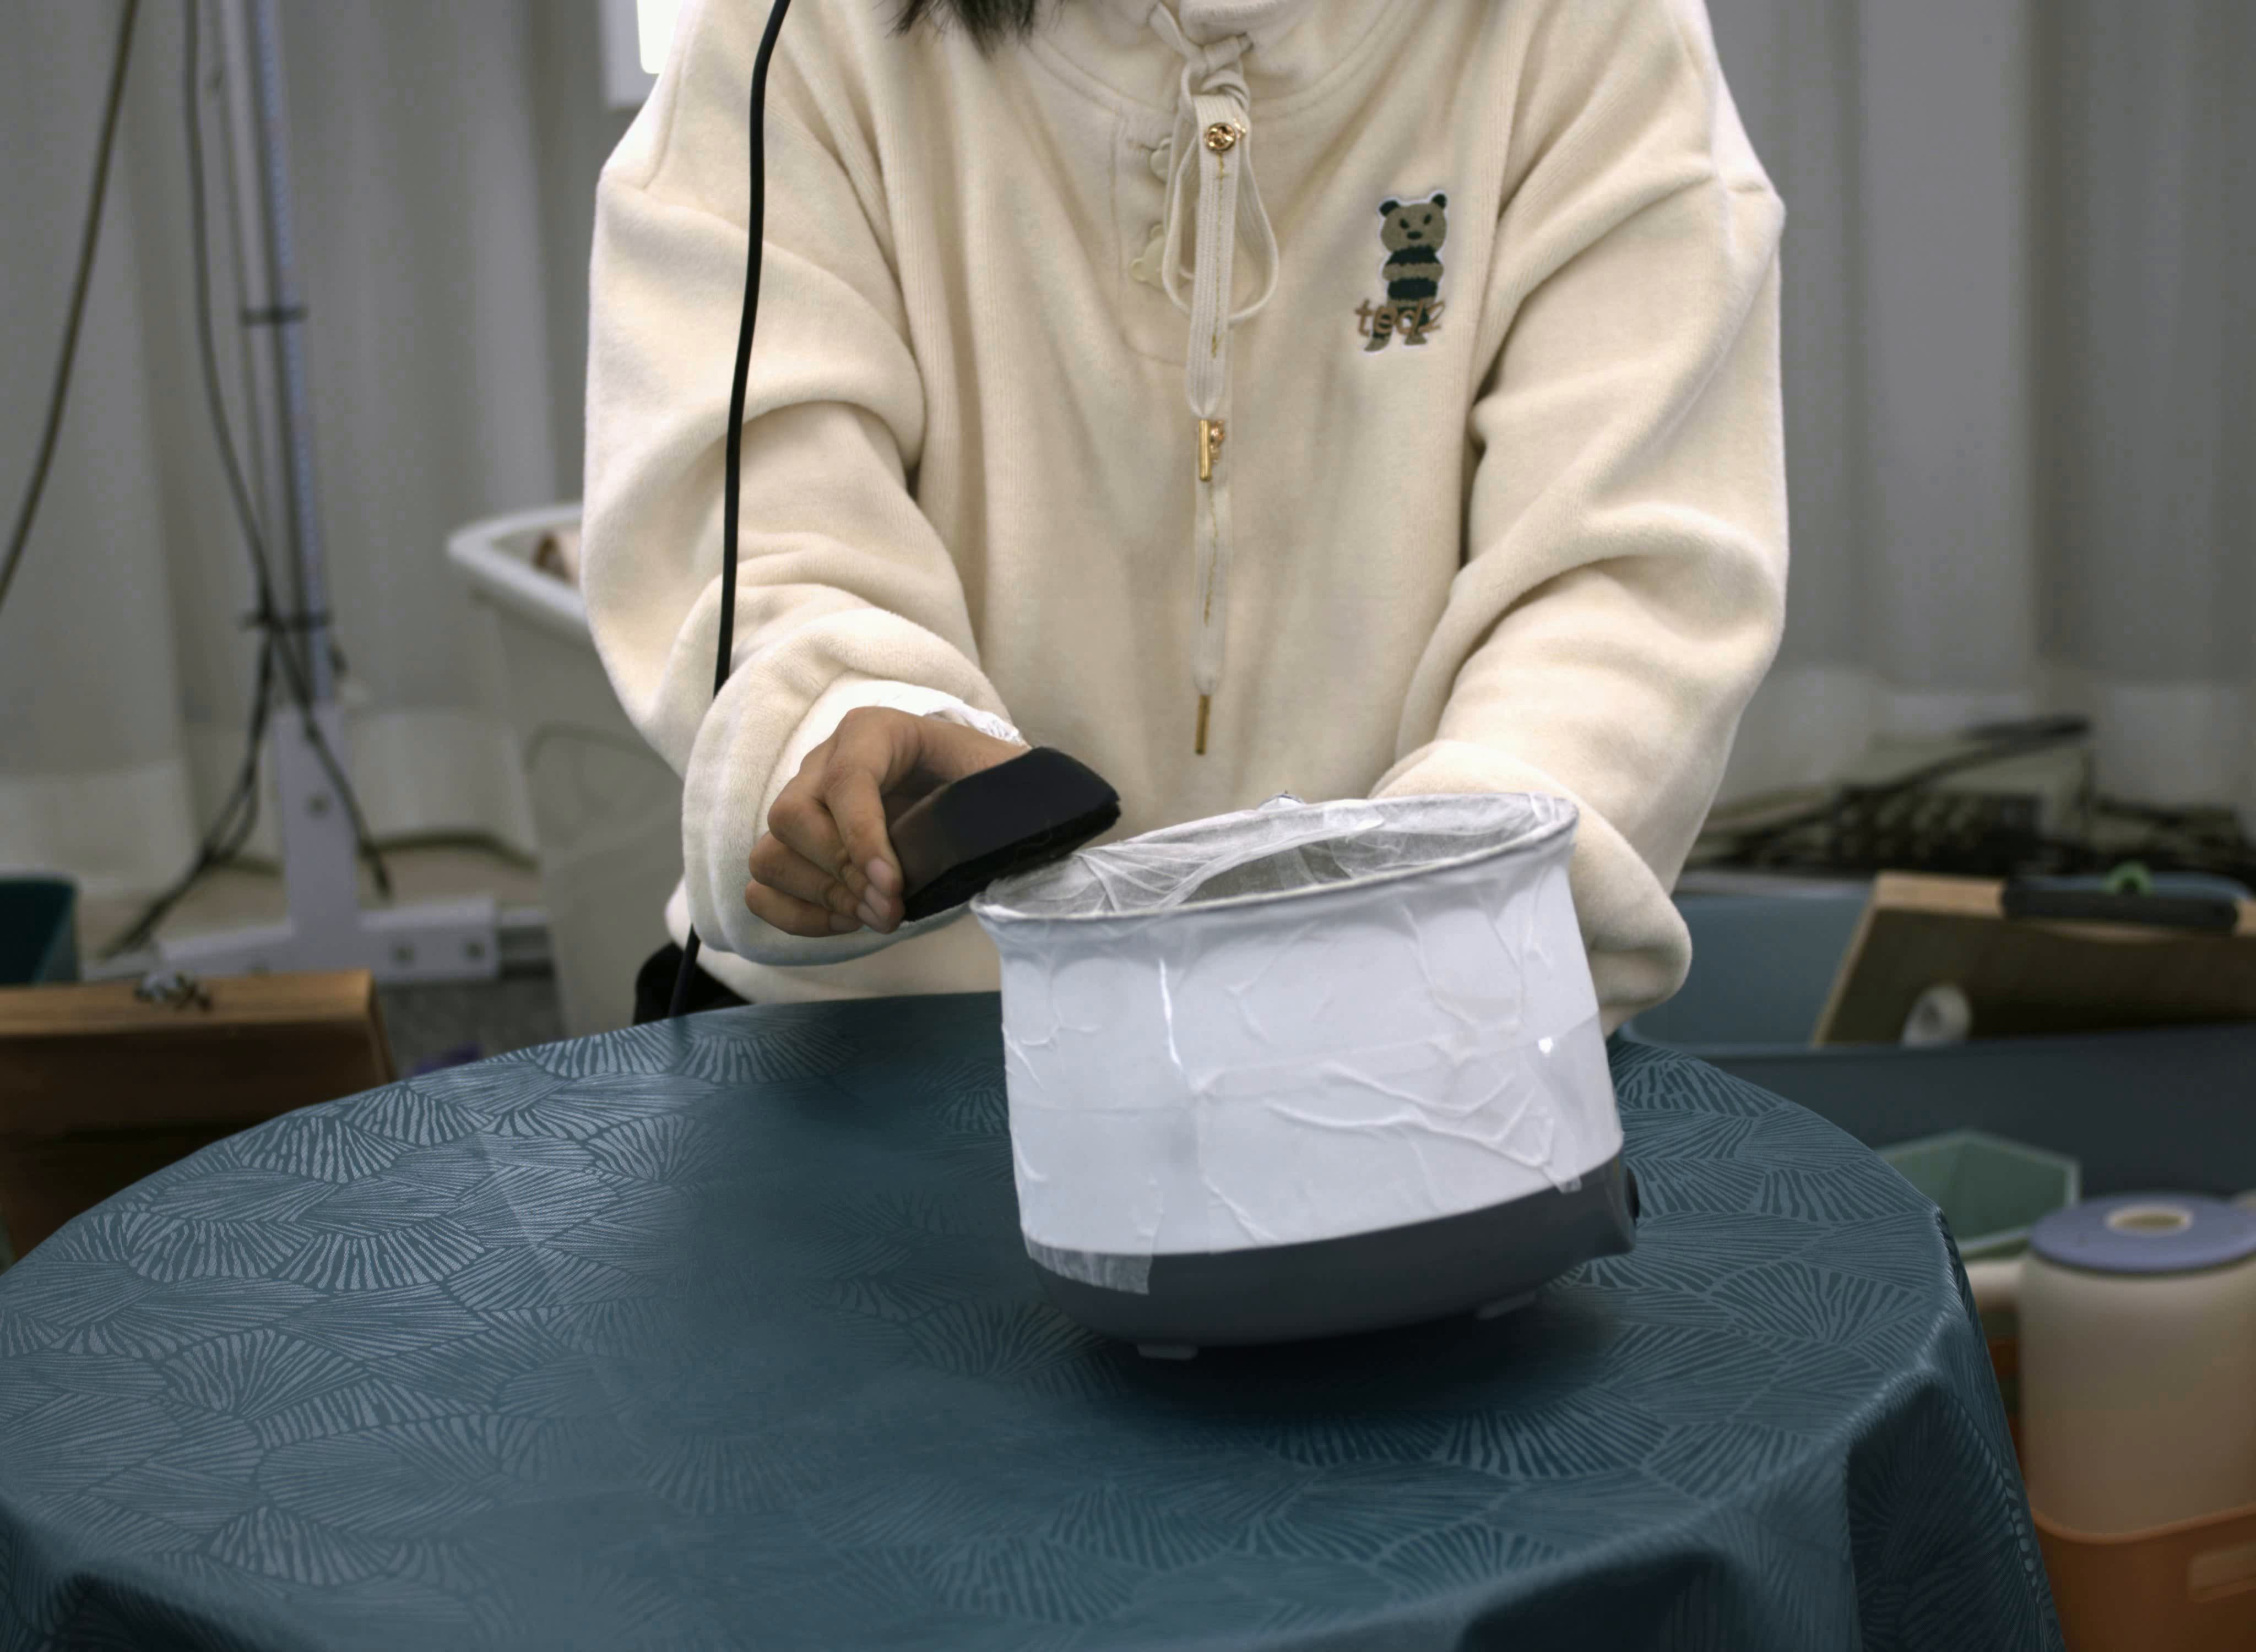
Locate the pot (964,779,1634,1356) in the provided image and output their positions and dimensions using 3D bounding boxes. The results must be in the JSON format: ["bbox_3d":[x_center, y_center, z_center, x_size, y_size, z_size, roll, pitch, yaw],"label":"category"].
[{"bbox_3d":[0.050,0.064,1.596,0.178,0.136,0.234,-8,8,2],"label":"pot"}]

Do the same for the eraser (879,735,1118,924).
[{"bbox_3d":[-0.039,0.001,1.613,0.053,0.030,0.125,-20,-4,-12],"label":"eraser"}]
